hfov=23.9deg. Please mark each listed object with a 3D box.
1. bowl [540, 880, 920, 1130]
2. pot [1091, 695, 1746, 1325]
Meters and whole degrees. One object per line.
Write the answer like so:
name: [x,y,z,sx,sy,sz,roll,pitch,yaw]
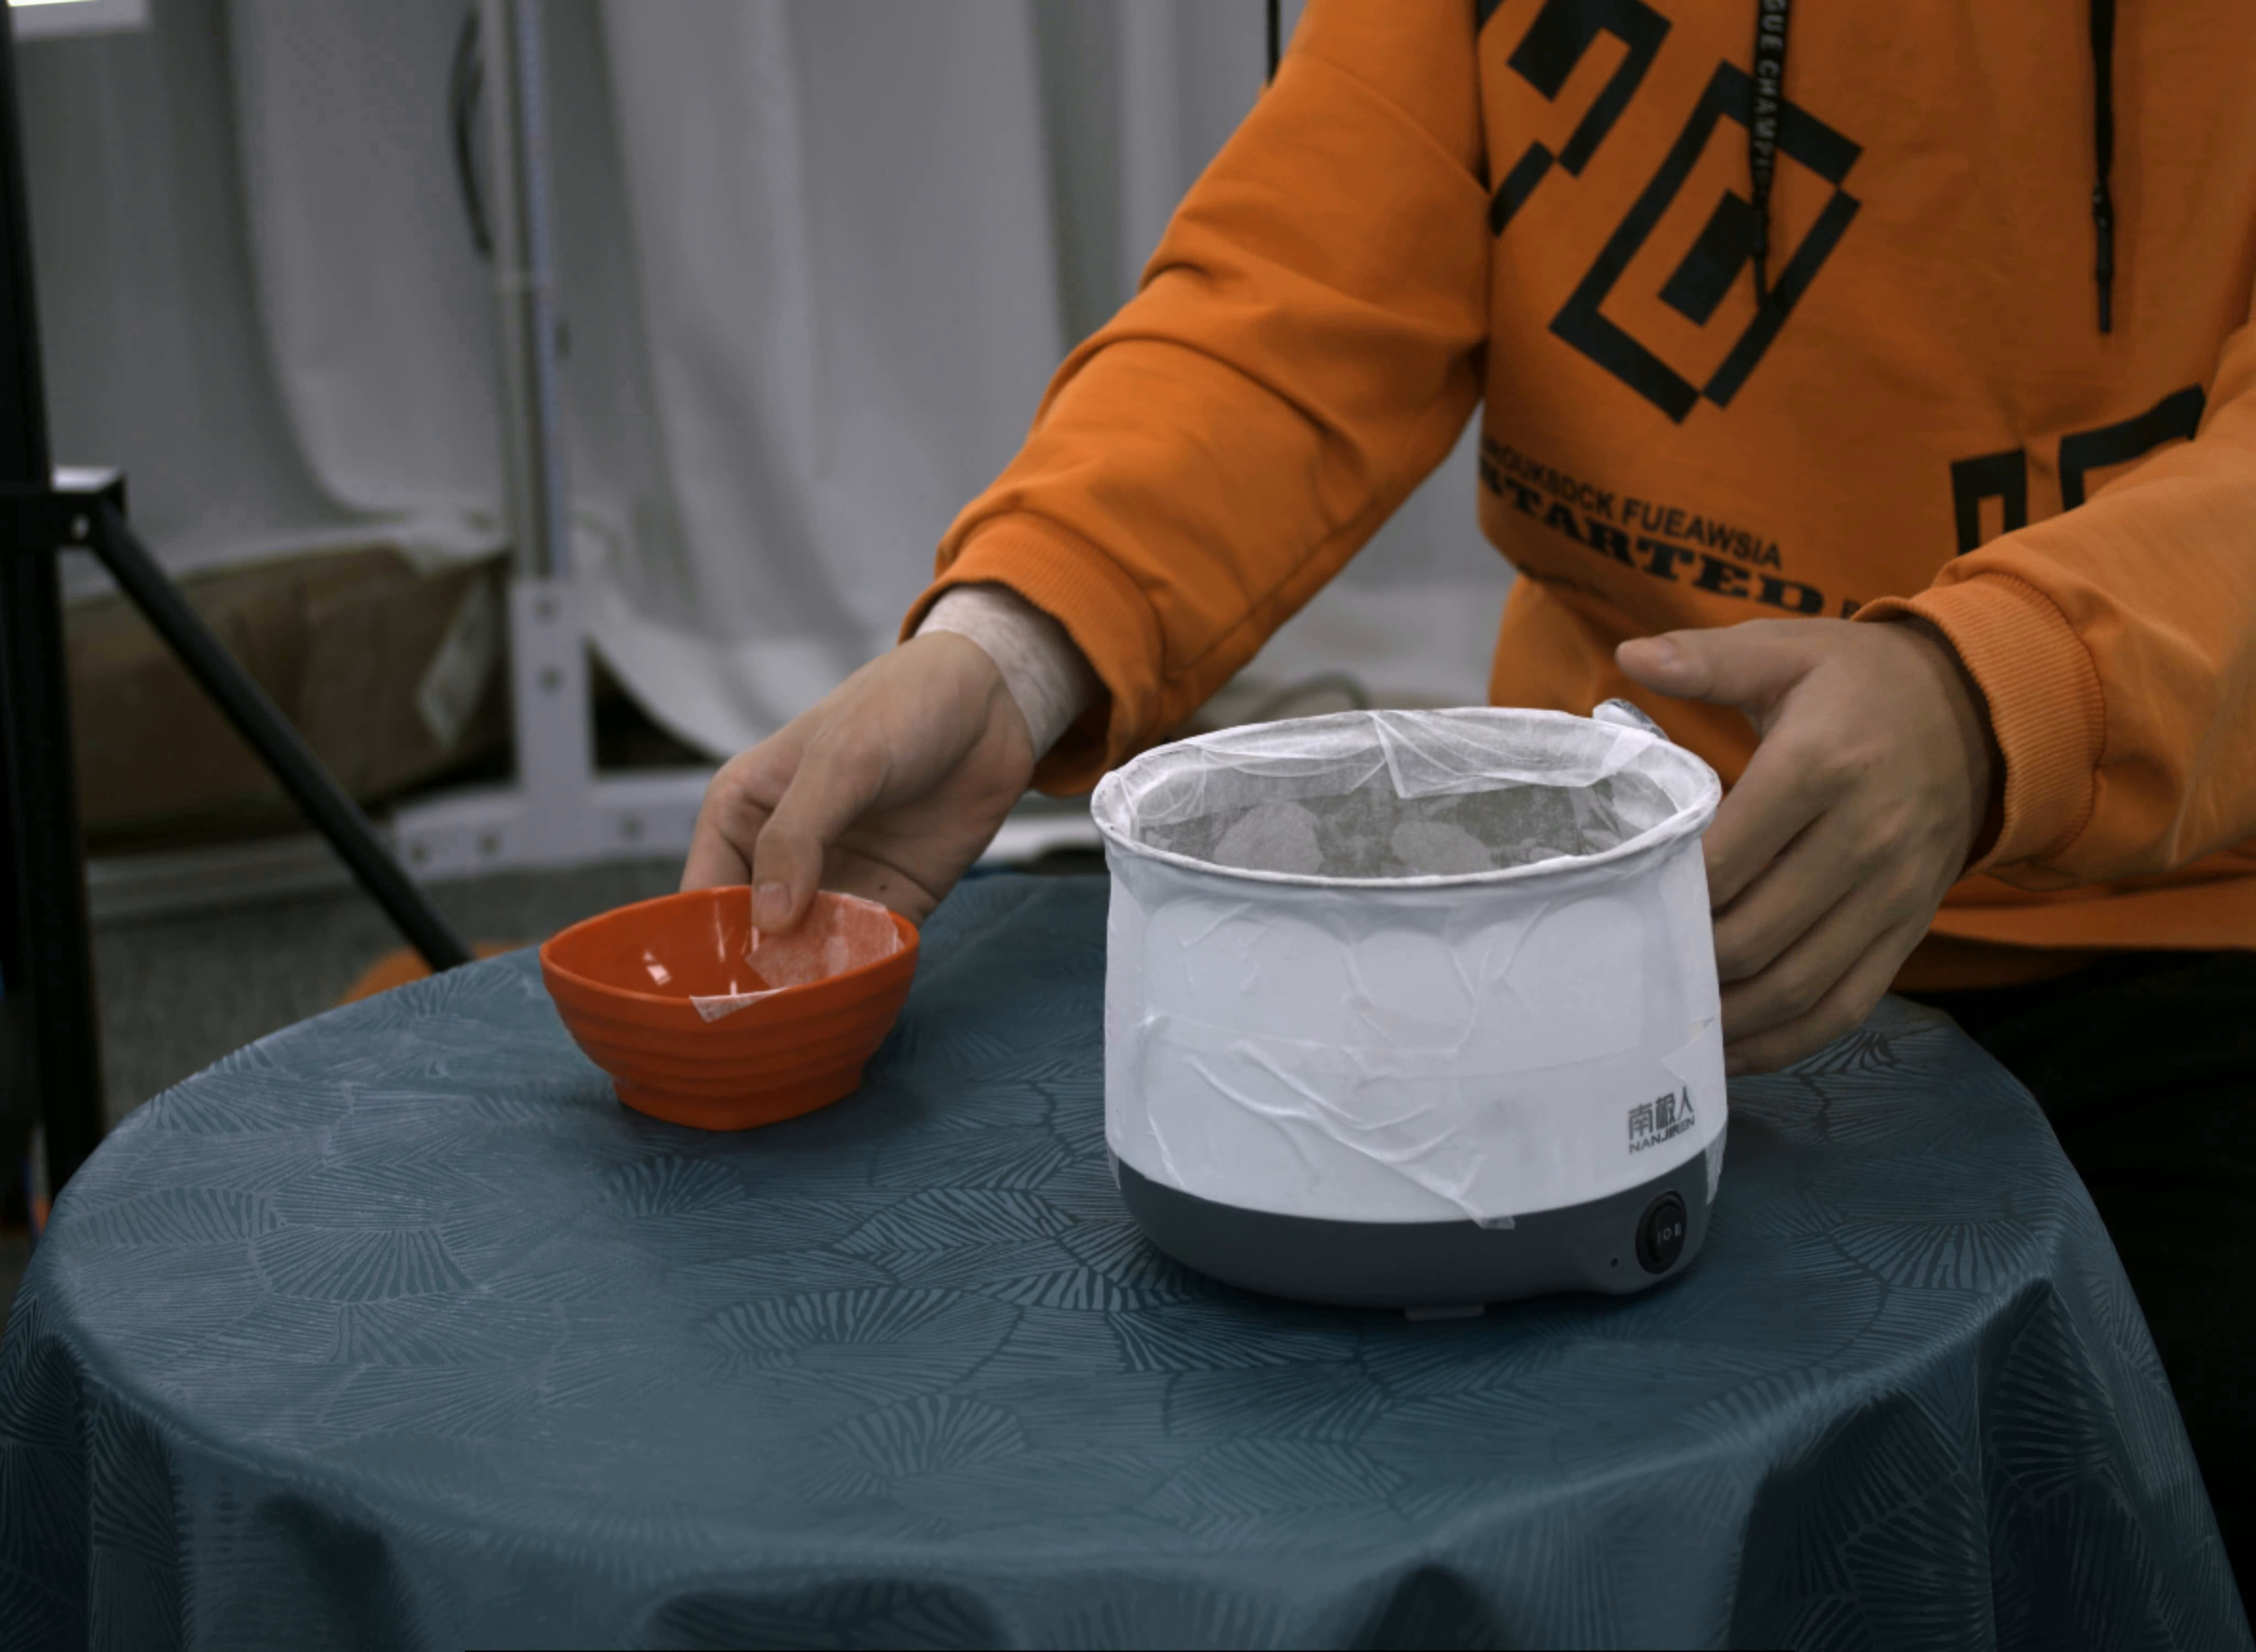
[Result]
bowl: [-0.122,0.058,1.659,0.118,0.051,0.119,-5,16,0]
pot: [0.098,0.045,1.513,0.182,0.136,0.228,11,21,40]
